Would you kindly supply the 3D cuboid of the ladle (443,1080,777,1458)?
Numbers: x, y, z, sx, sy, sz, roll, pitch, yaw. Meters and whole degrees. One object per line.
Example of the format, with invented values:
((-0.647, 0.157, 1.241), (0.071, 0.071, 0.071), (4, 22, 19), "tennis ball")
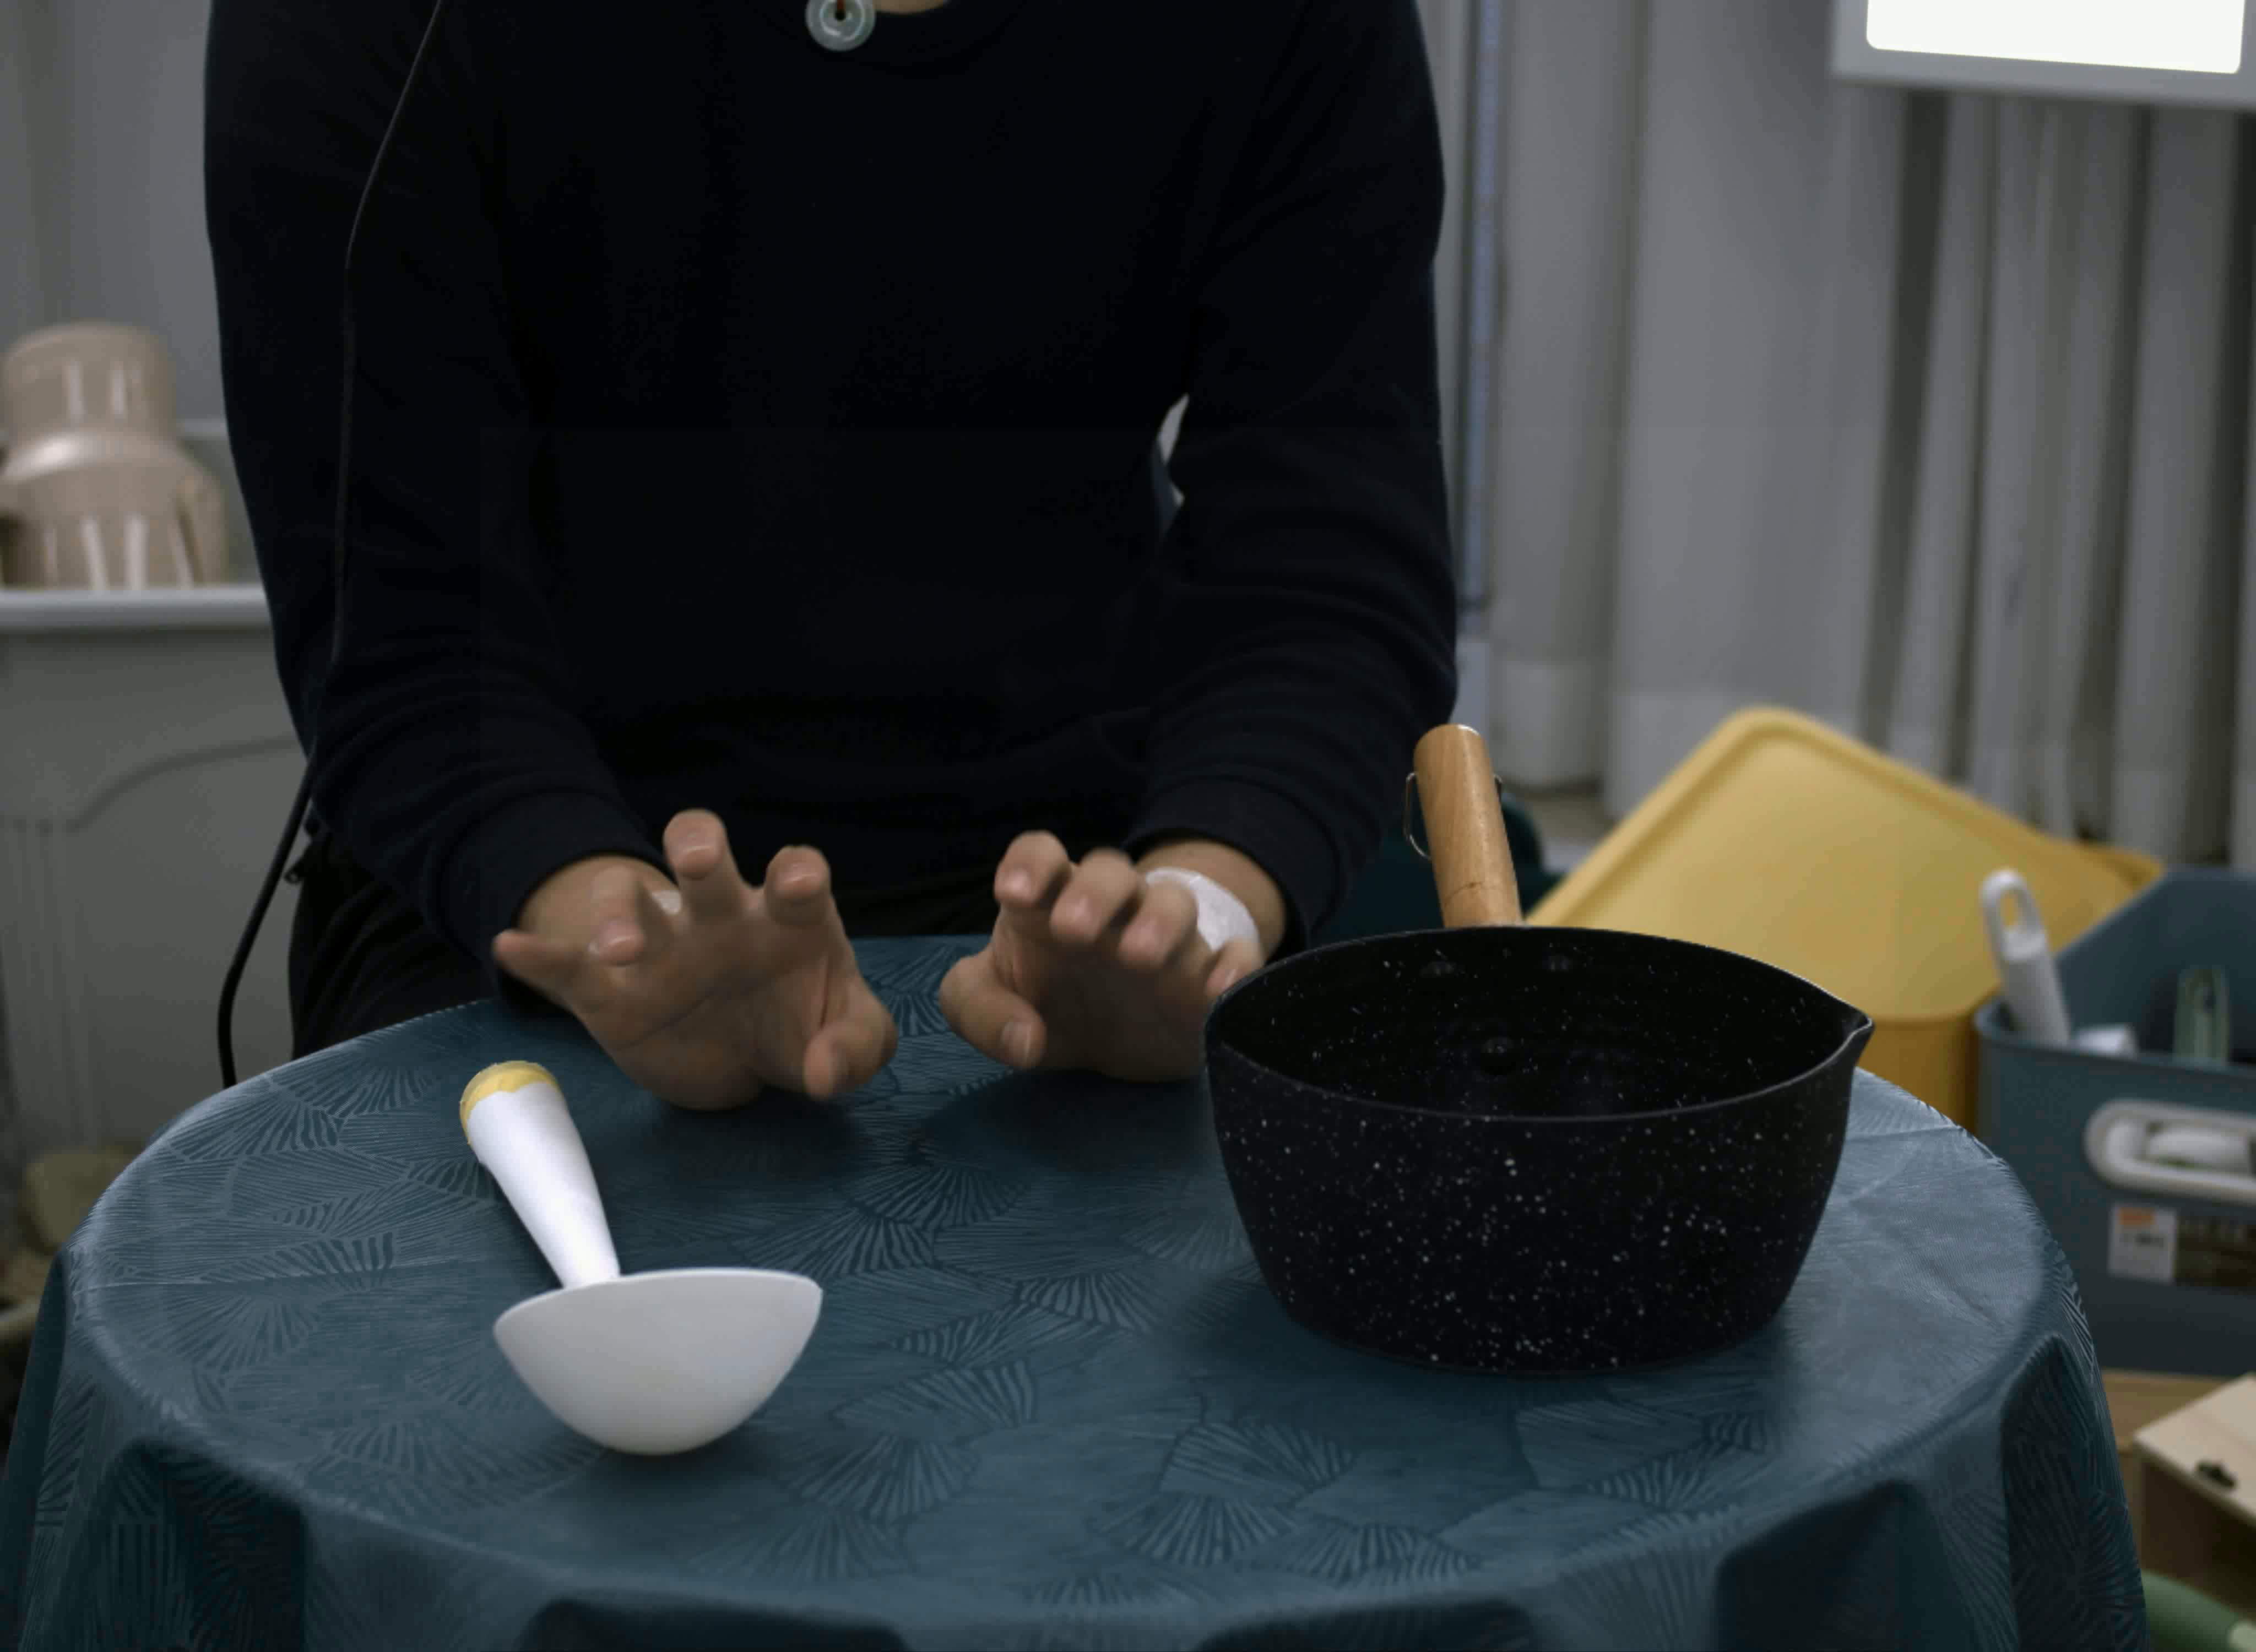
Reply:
((-0.161, 0.111, 1.504), (0.090, 0.070, 0.290), (-10, 17, -11), "ladle")

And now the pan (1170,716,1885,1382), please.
((0.112, 0.062, 1.603), (0.207, 0.109, 0.340), (-2, 17, -3), "pan")
